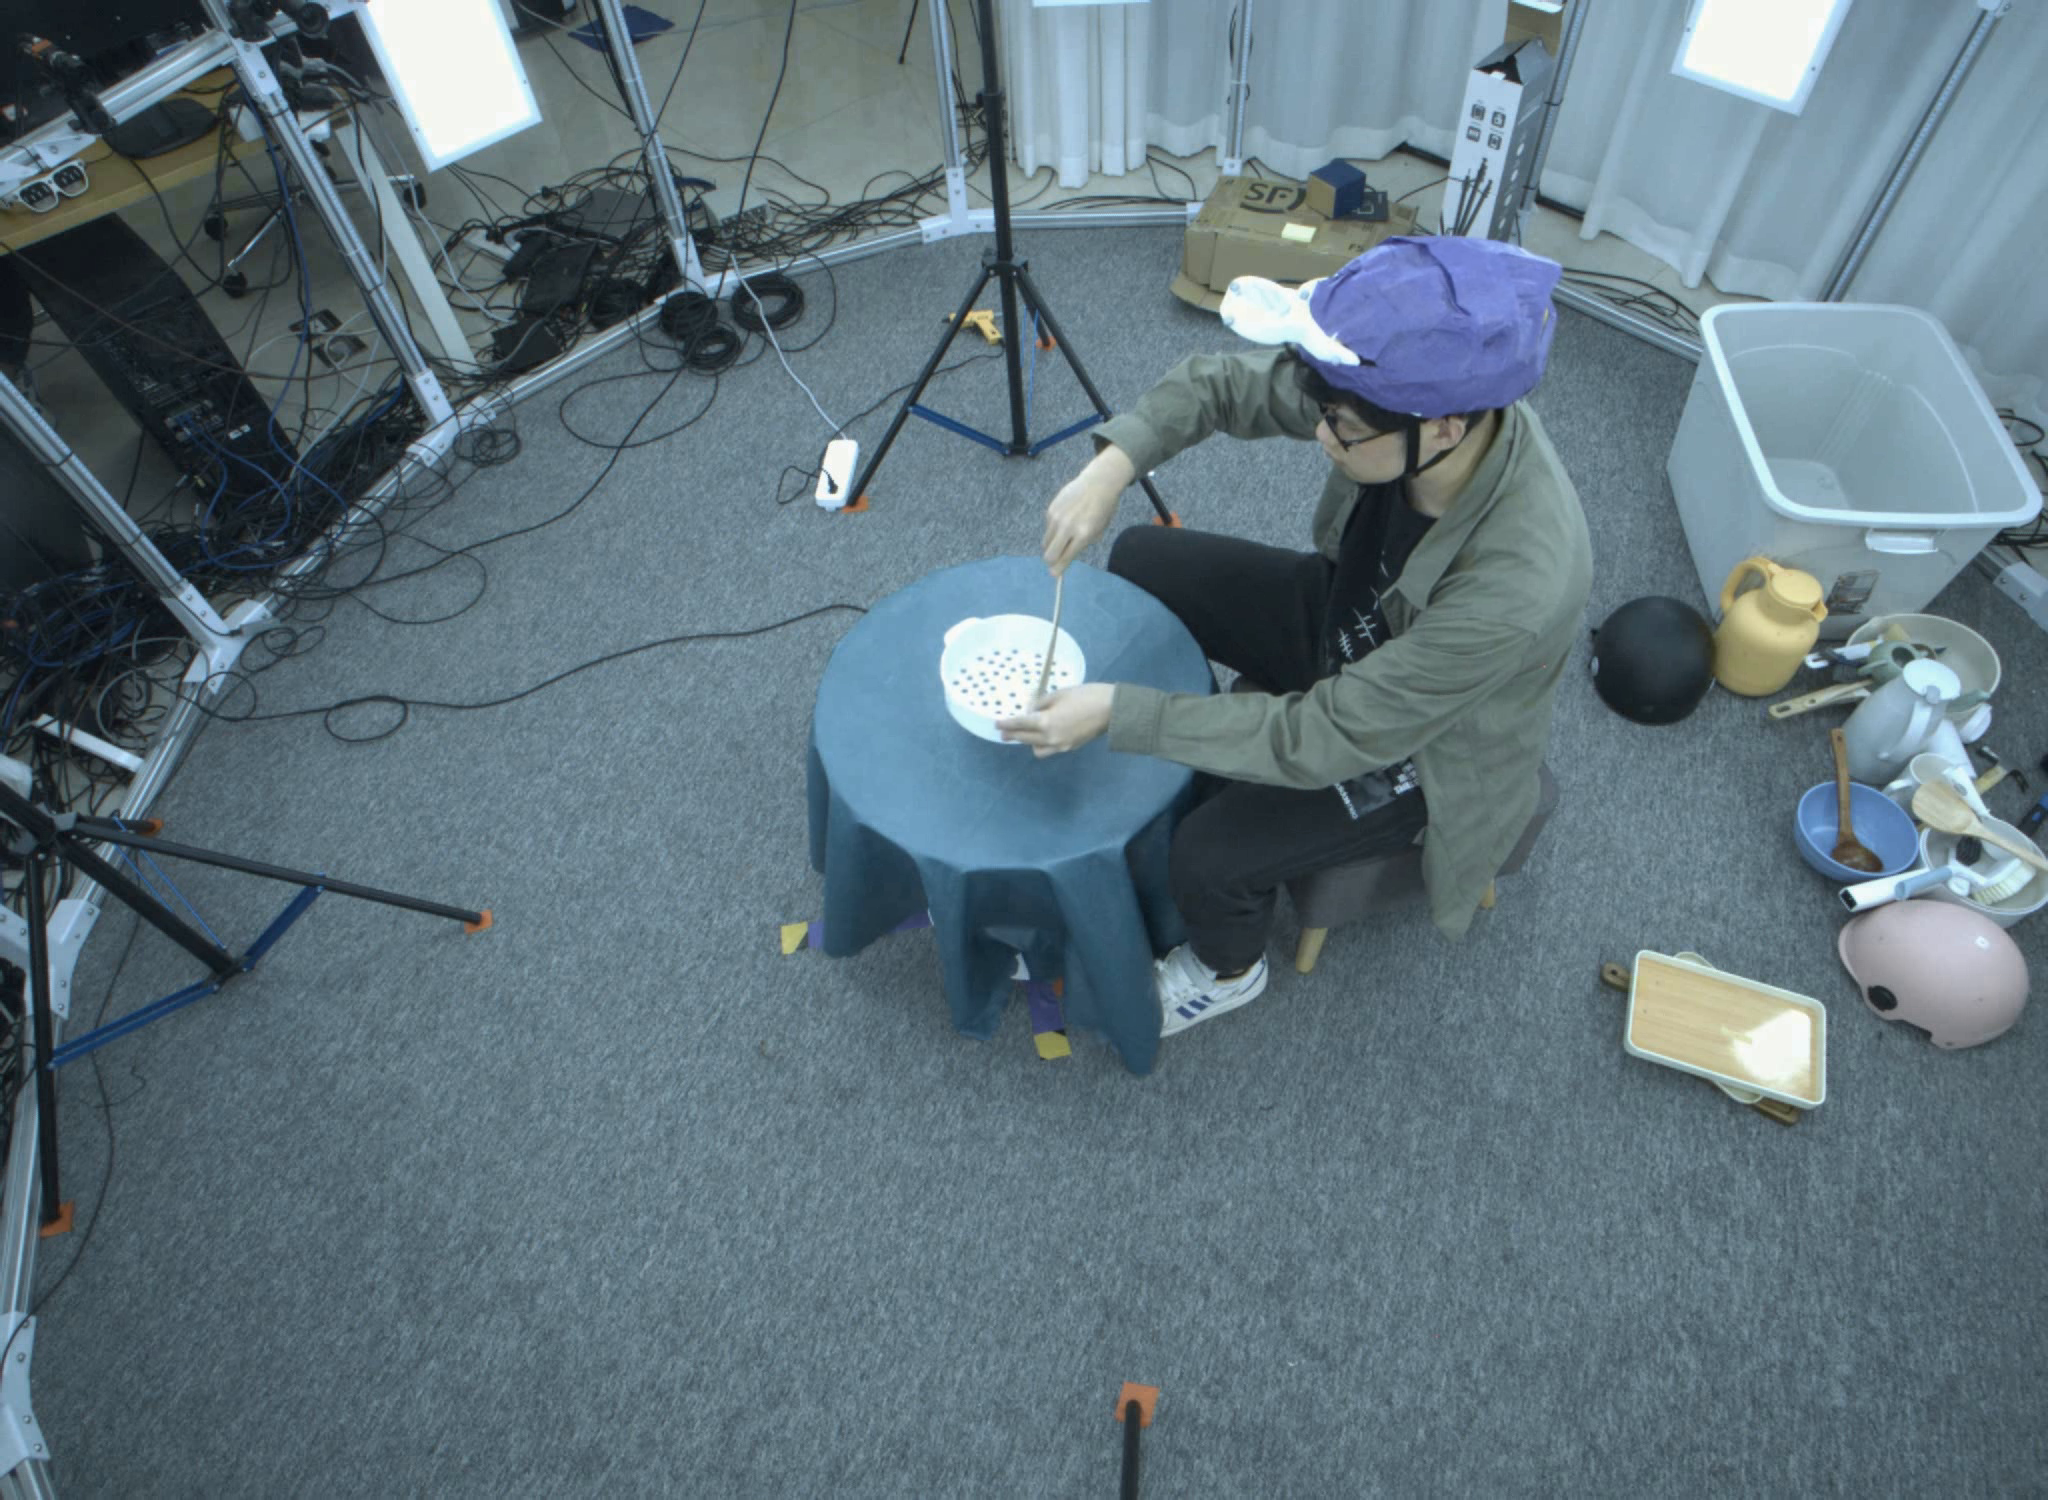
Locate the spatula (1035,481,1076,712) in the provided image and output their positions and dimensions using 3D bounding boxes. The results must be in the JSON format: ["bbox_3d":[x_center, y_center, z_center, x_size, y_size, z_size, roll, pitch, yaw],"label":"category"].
[{"bbox_3d":[0.043,-0.217,1.695,0.016,0.080,0.327,7,84,5],"label":"spatula"}]

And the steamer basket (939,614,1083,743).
[{"bbox_3d":[-0.019,-0.099,1.731,0.227,0.070,0.203,38,58,23],"label":"steamer basket"}]
